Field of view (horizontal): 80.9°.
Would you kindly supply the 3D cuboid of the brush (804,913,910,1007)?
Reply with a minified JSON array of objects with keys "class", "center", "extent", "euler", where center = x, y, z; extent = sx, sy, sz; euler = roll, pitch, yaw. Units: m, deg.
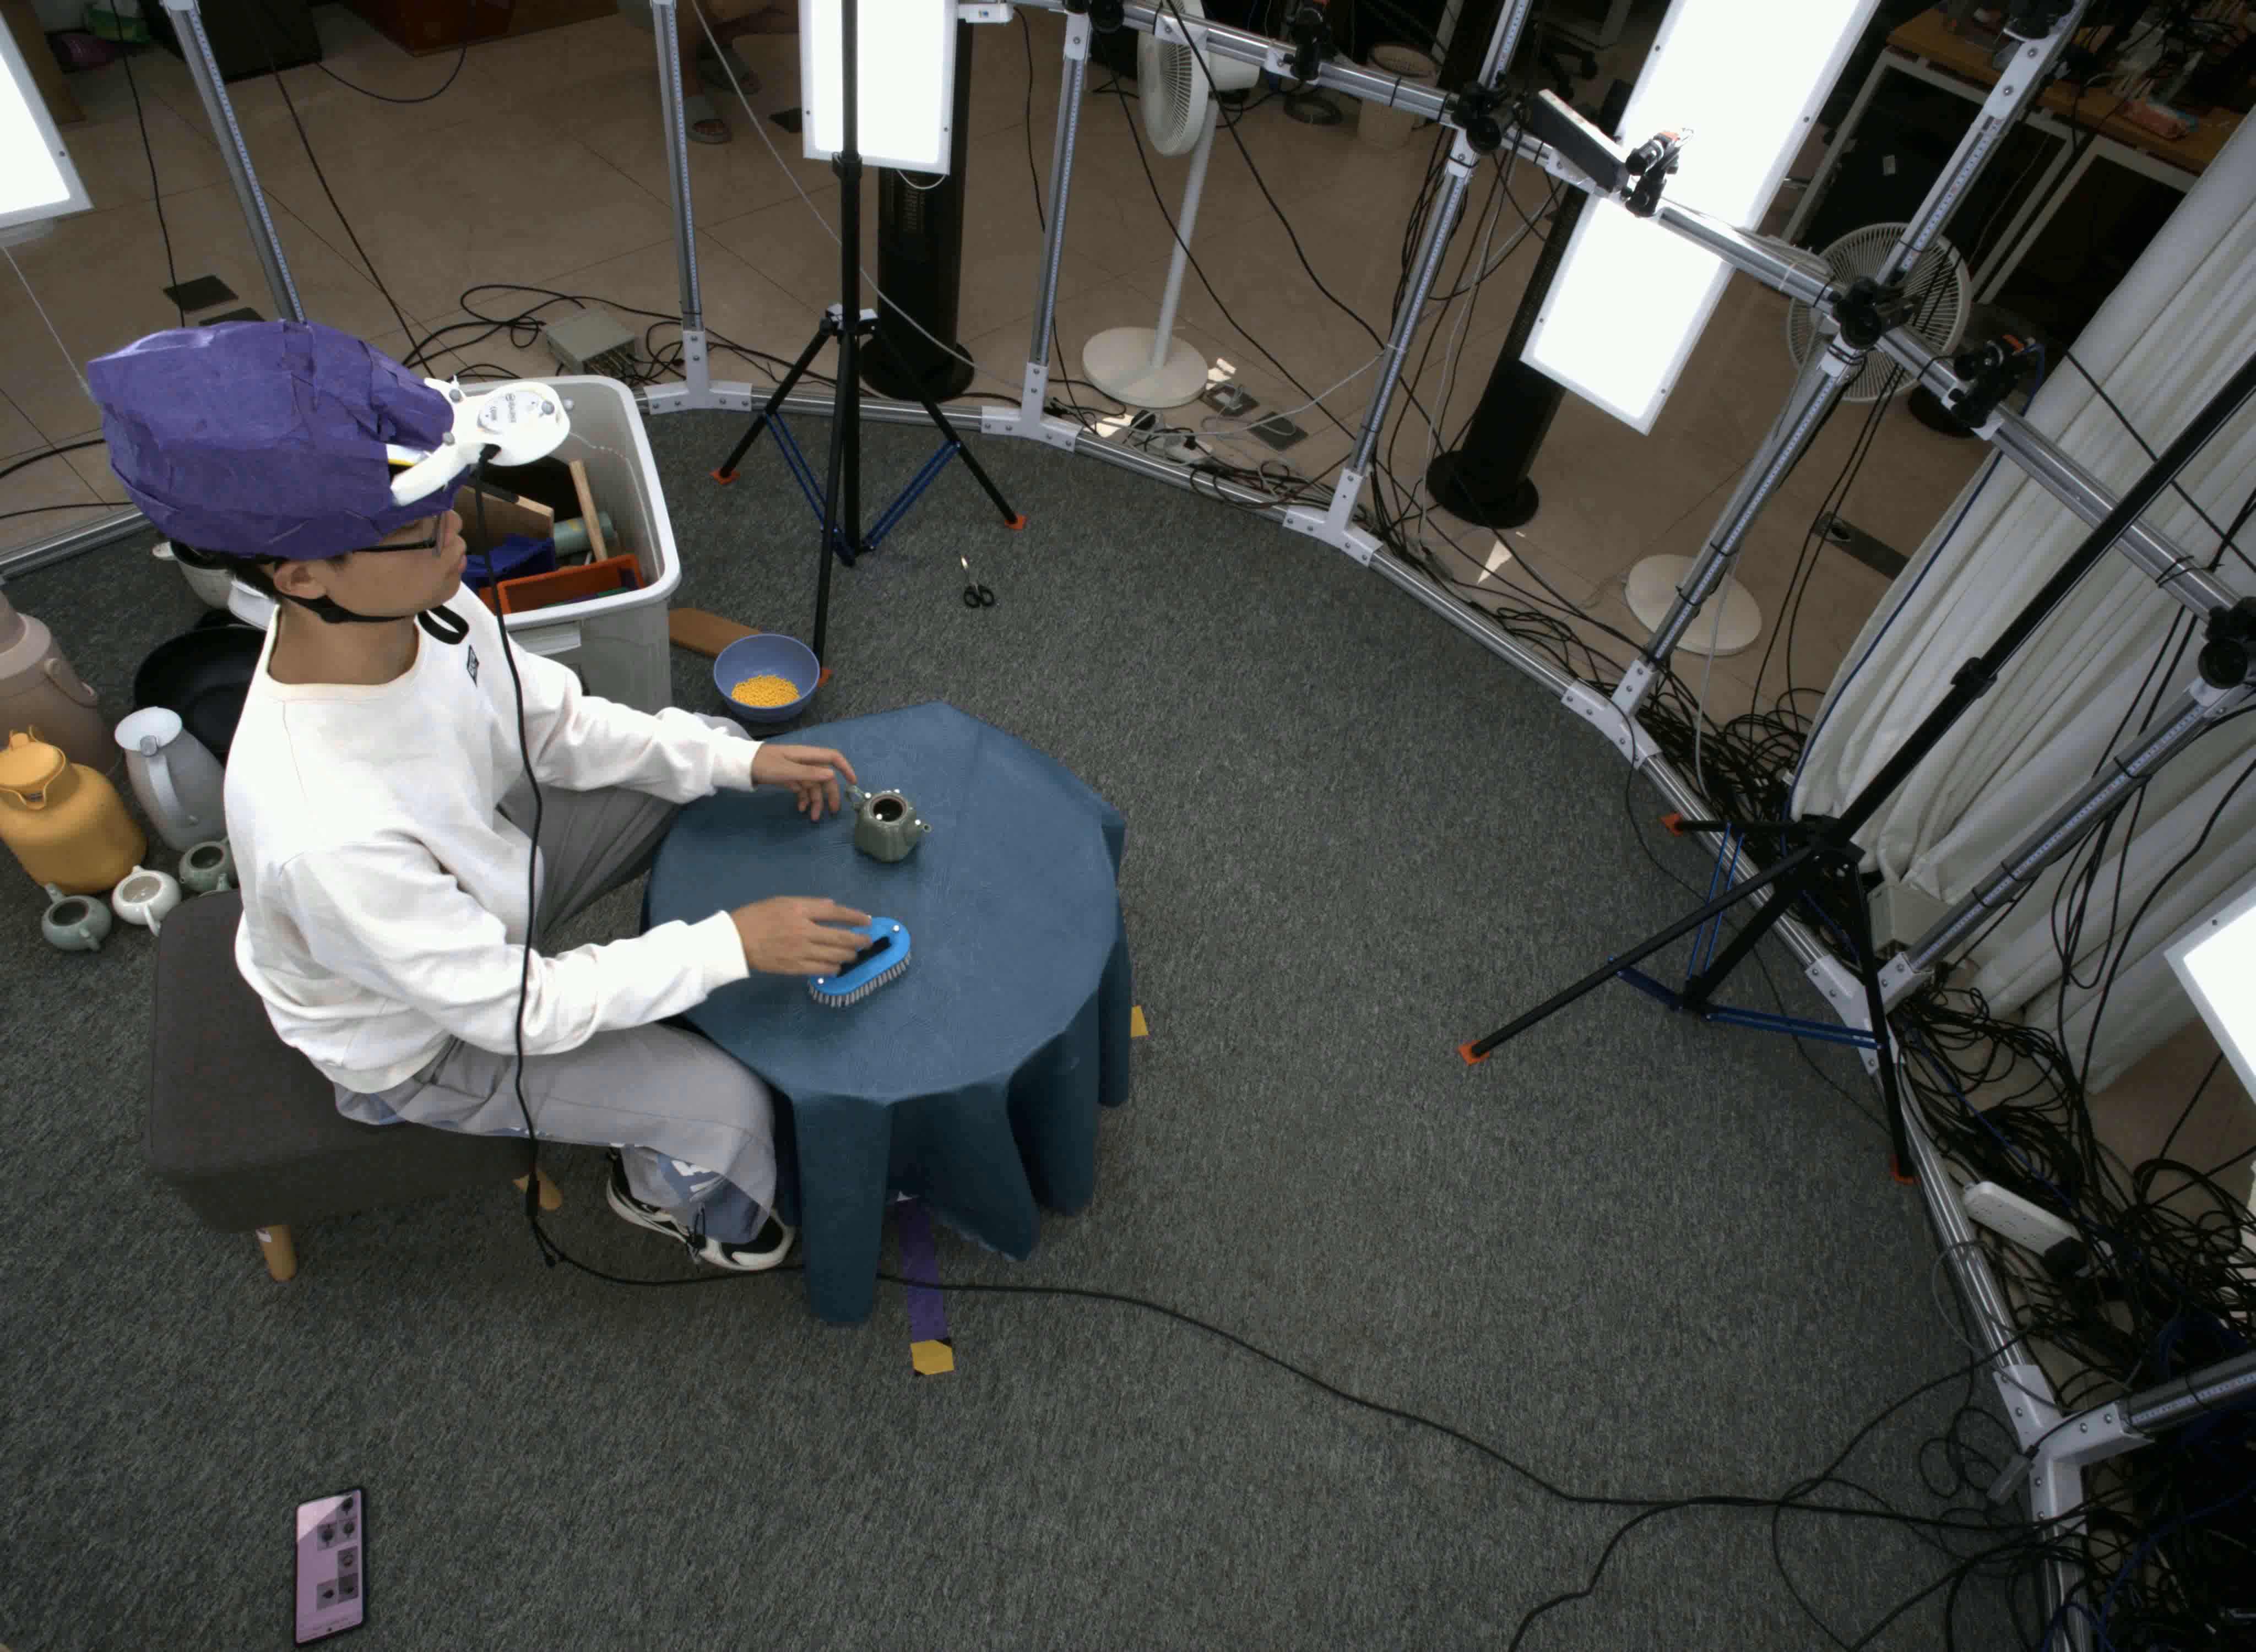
[{"class":"brush","center":[-0.331,0.157,1.599],"extent":[0.142,0.065,0.083],"euler":[-31,70,-29]}]

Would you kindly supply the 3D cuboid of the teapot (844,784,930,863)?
[{"class":"teapot","center":[-0.318,-0.004,1.716],"extent":[0.130,0.077,0.079],"euler":[27,52,9]}]
